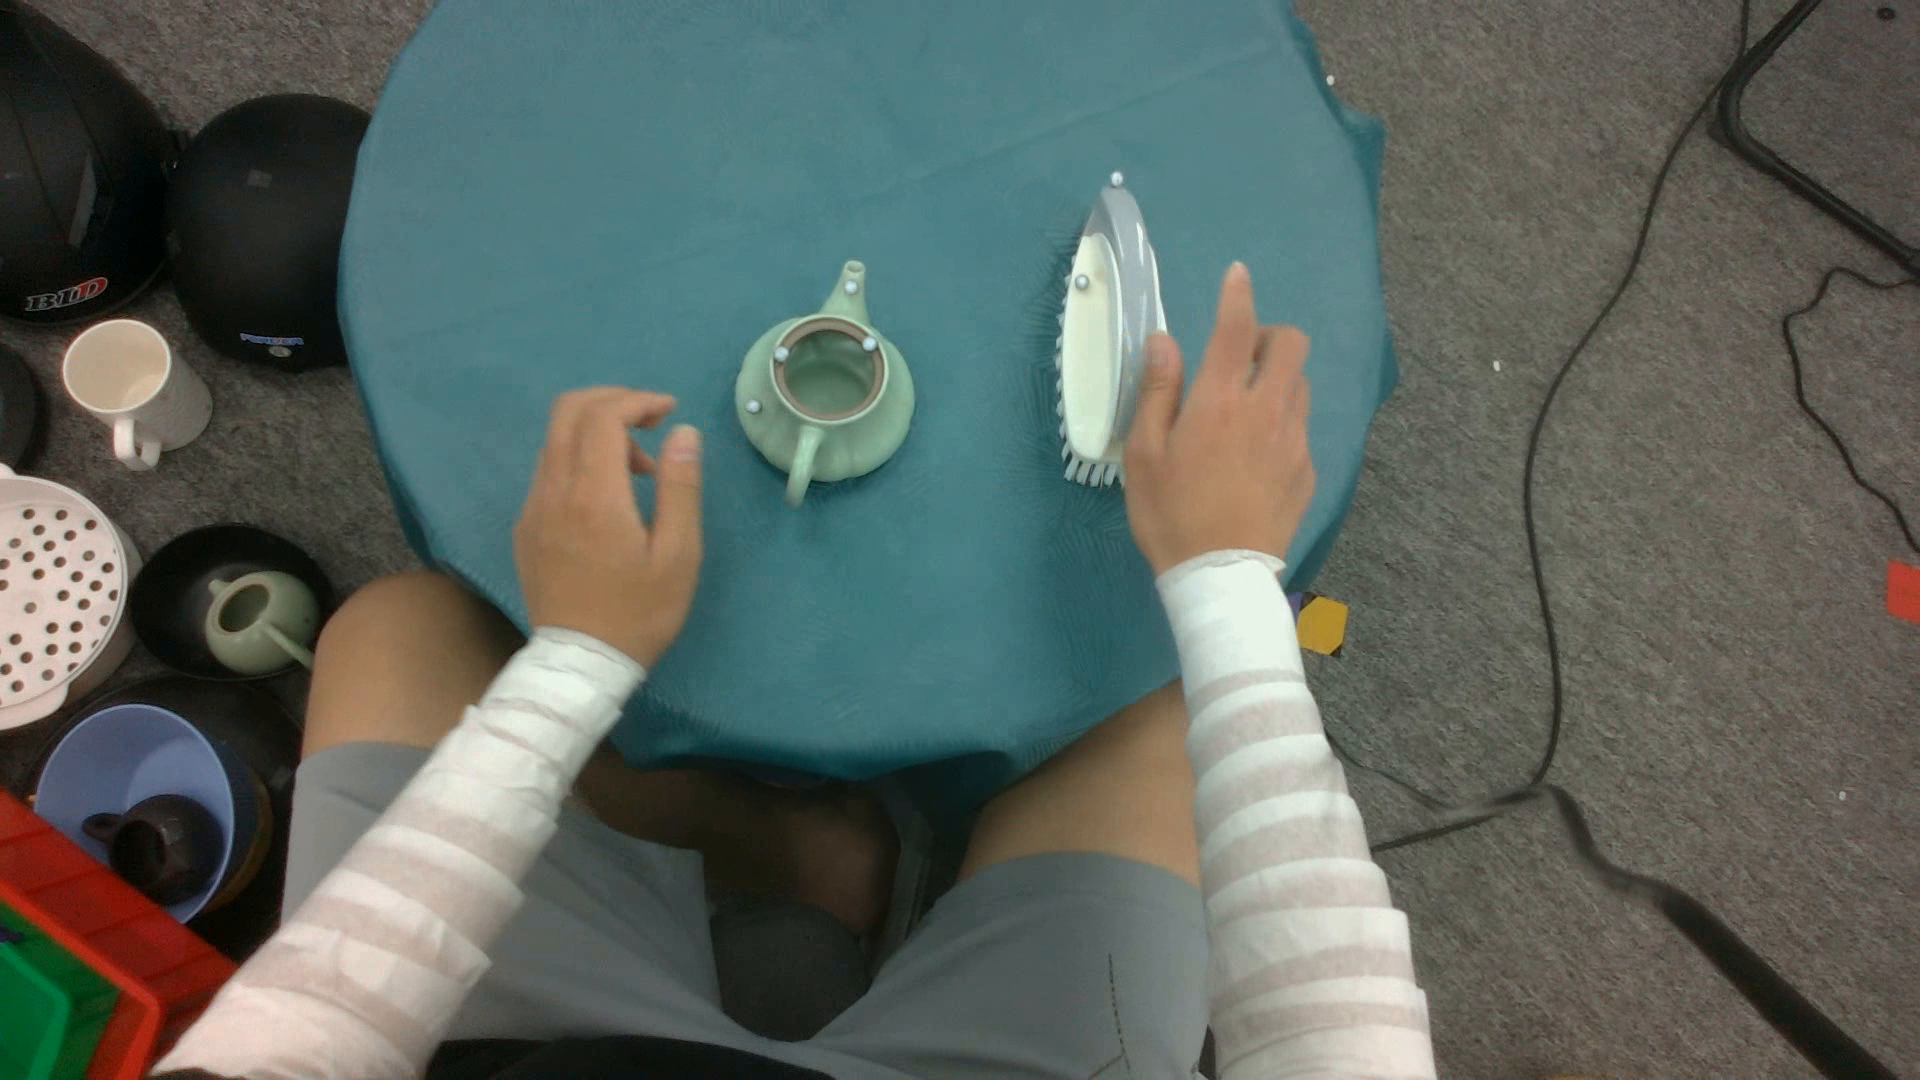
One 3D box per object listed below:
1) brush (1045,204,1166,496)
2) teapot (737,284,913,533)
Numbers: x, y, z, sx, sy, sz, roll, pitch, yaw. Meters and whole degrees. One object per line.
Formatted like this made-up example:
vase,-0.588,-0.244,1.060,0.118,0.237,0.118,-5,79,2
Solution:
brush,0.083,-0.120,0.769,0.061,0.094,0.176,1,68,-9
teapot,-0.073,-0.066,0.748,0.096,0.061,0.137,10,71,-6
